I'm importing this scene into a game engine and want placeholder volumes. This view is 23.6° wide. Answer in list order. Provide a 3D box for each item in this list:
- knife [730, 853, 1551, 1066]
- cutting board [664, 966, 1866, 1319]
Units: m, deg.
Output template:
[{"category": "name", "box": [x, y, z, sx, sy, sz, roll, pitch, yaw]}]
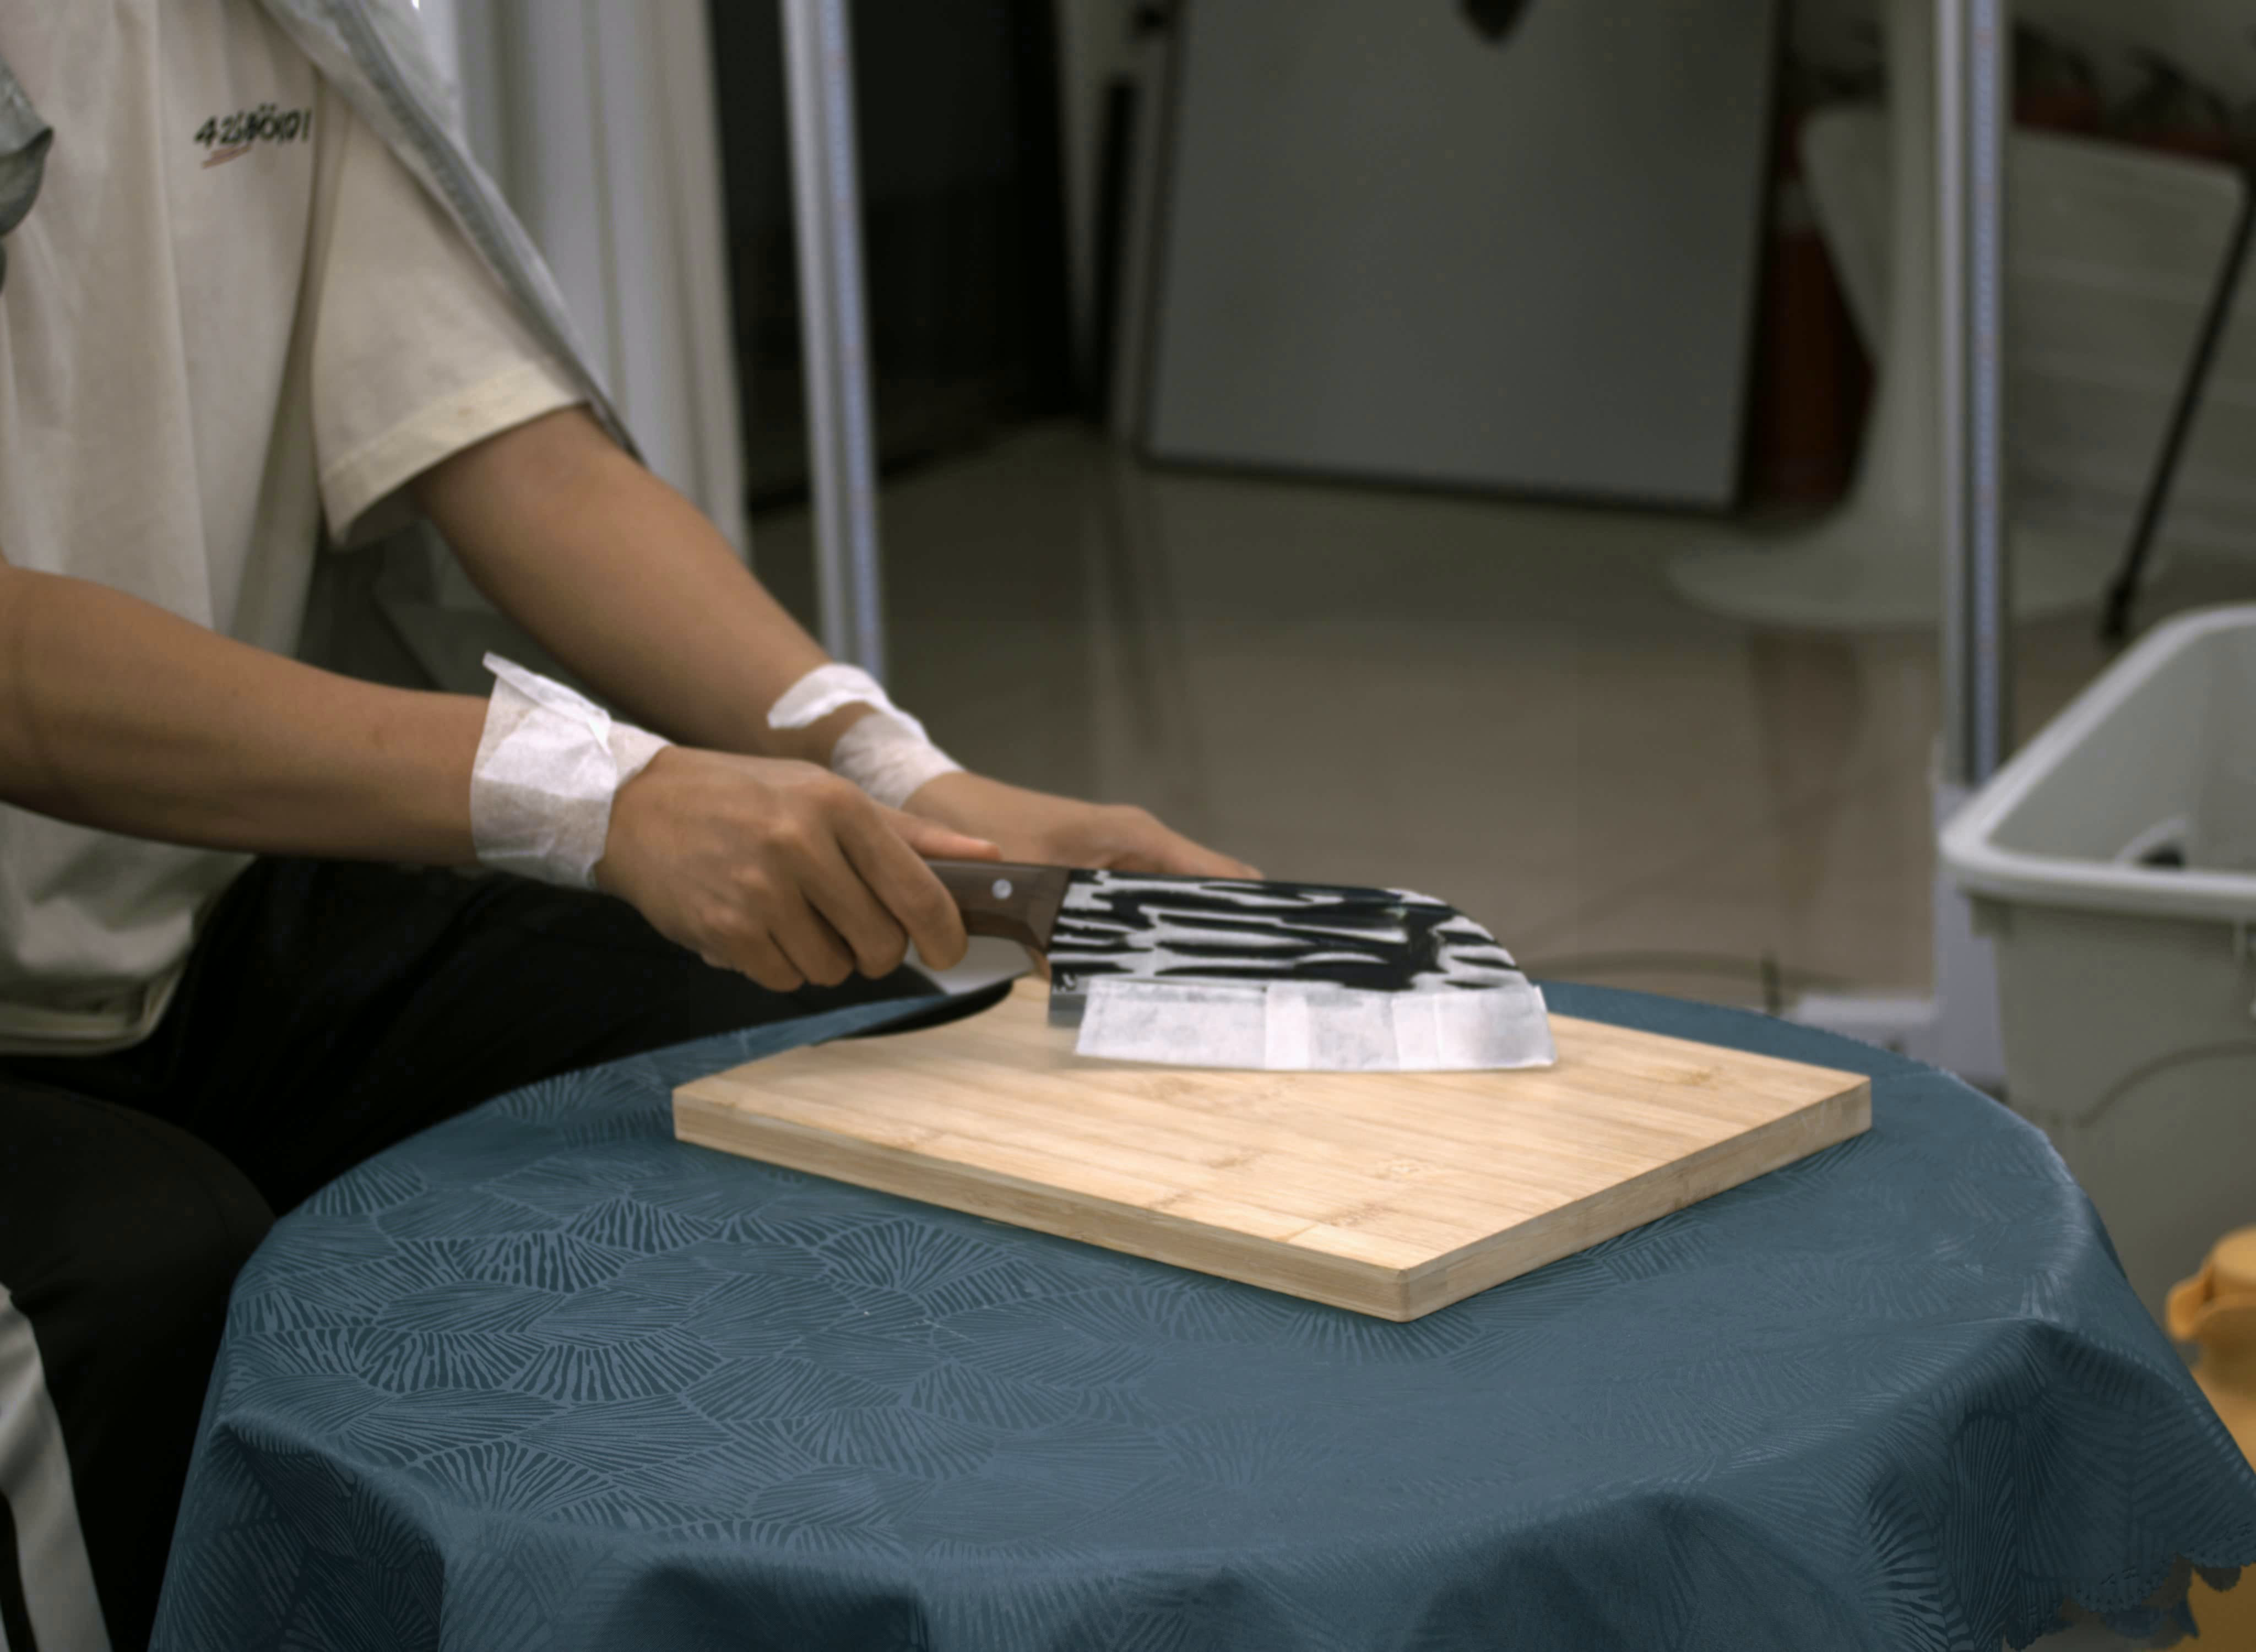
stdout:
[{"category": "knife", "box": [0.002, 0.047, 1.857, 0.298, 0.069, 0.024, 4, -15, 14]}, {"category": "cutting board", "box": [0.042, 0.097, 1.828, 0.352, 0.024, 0.245, 9, 19, 43]}]
